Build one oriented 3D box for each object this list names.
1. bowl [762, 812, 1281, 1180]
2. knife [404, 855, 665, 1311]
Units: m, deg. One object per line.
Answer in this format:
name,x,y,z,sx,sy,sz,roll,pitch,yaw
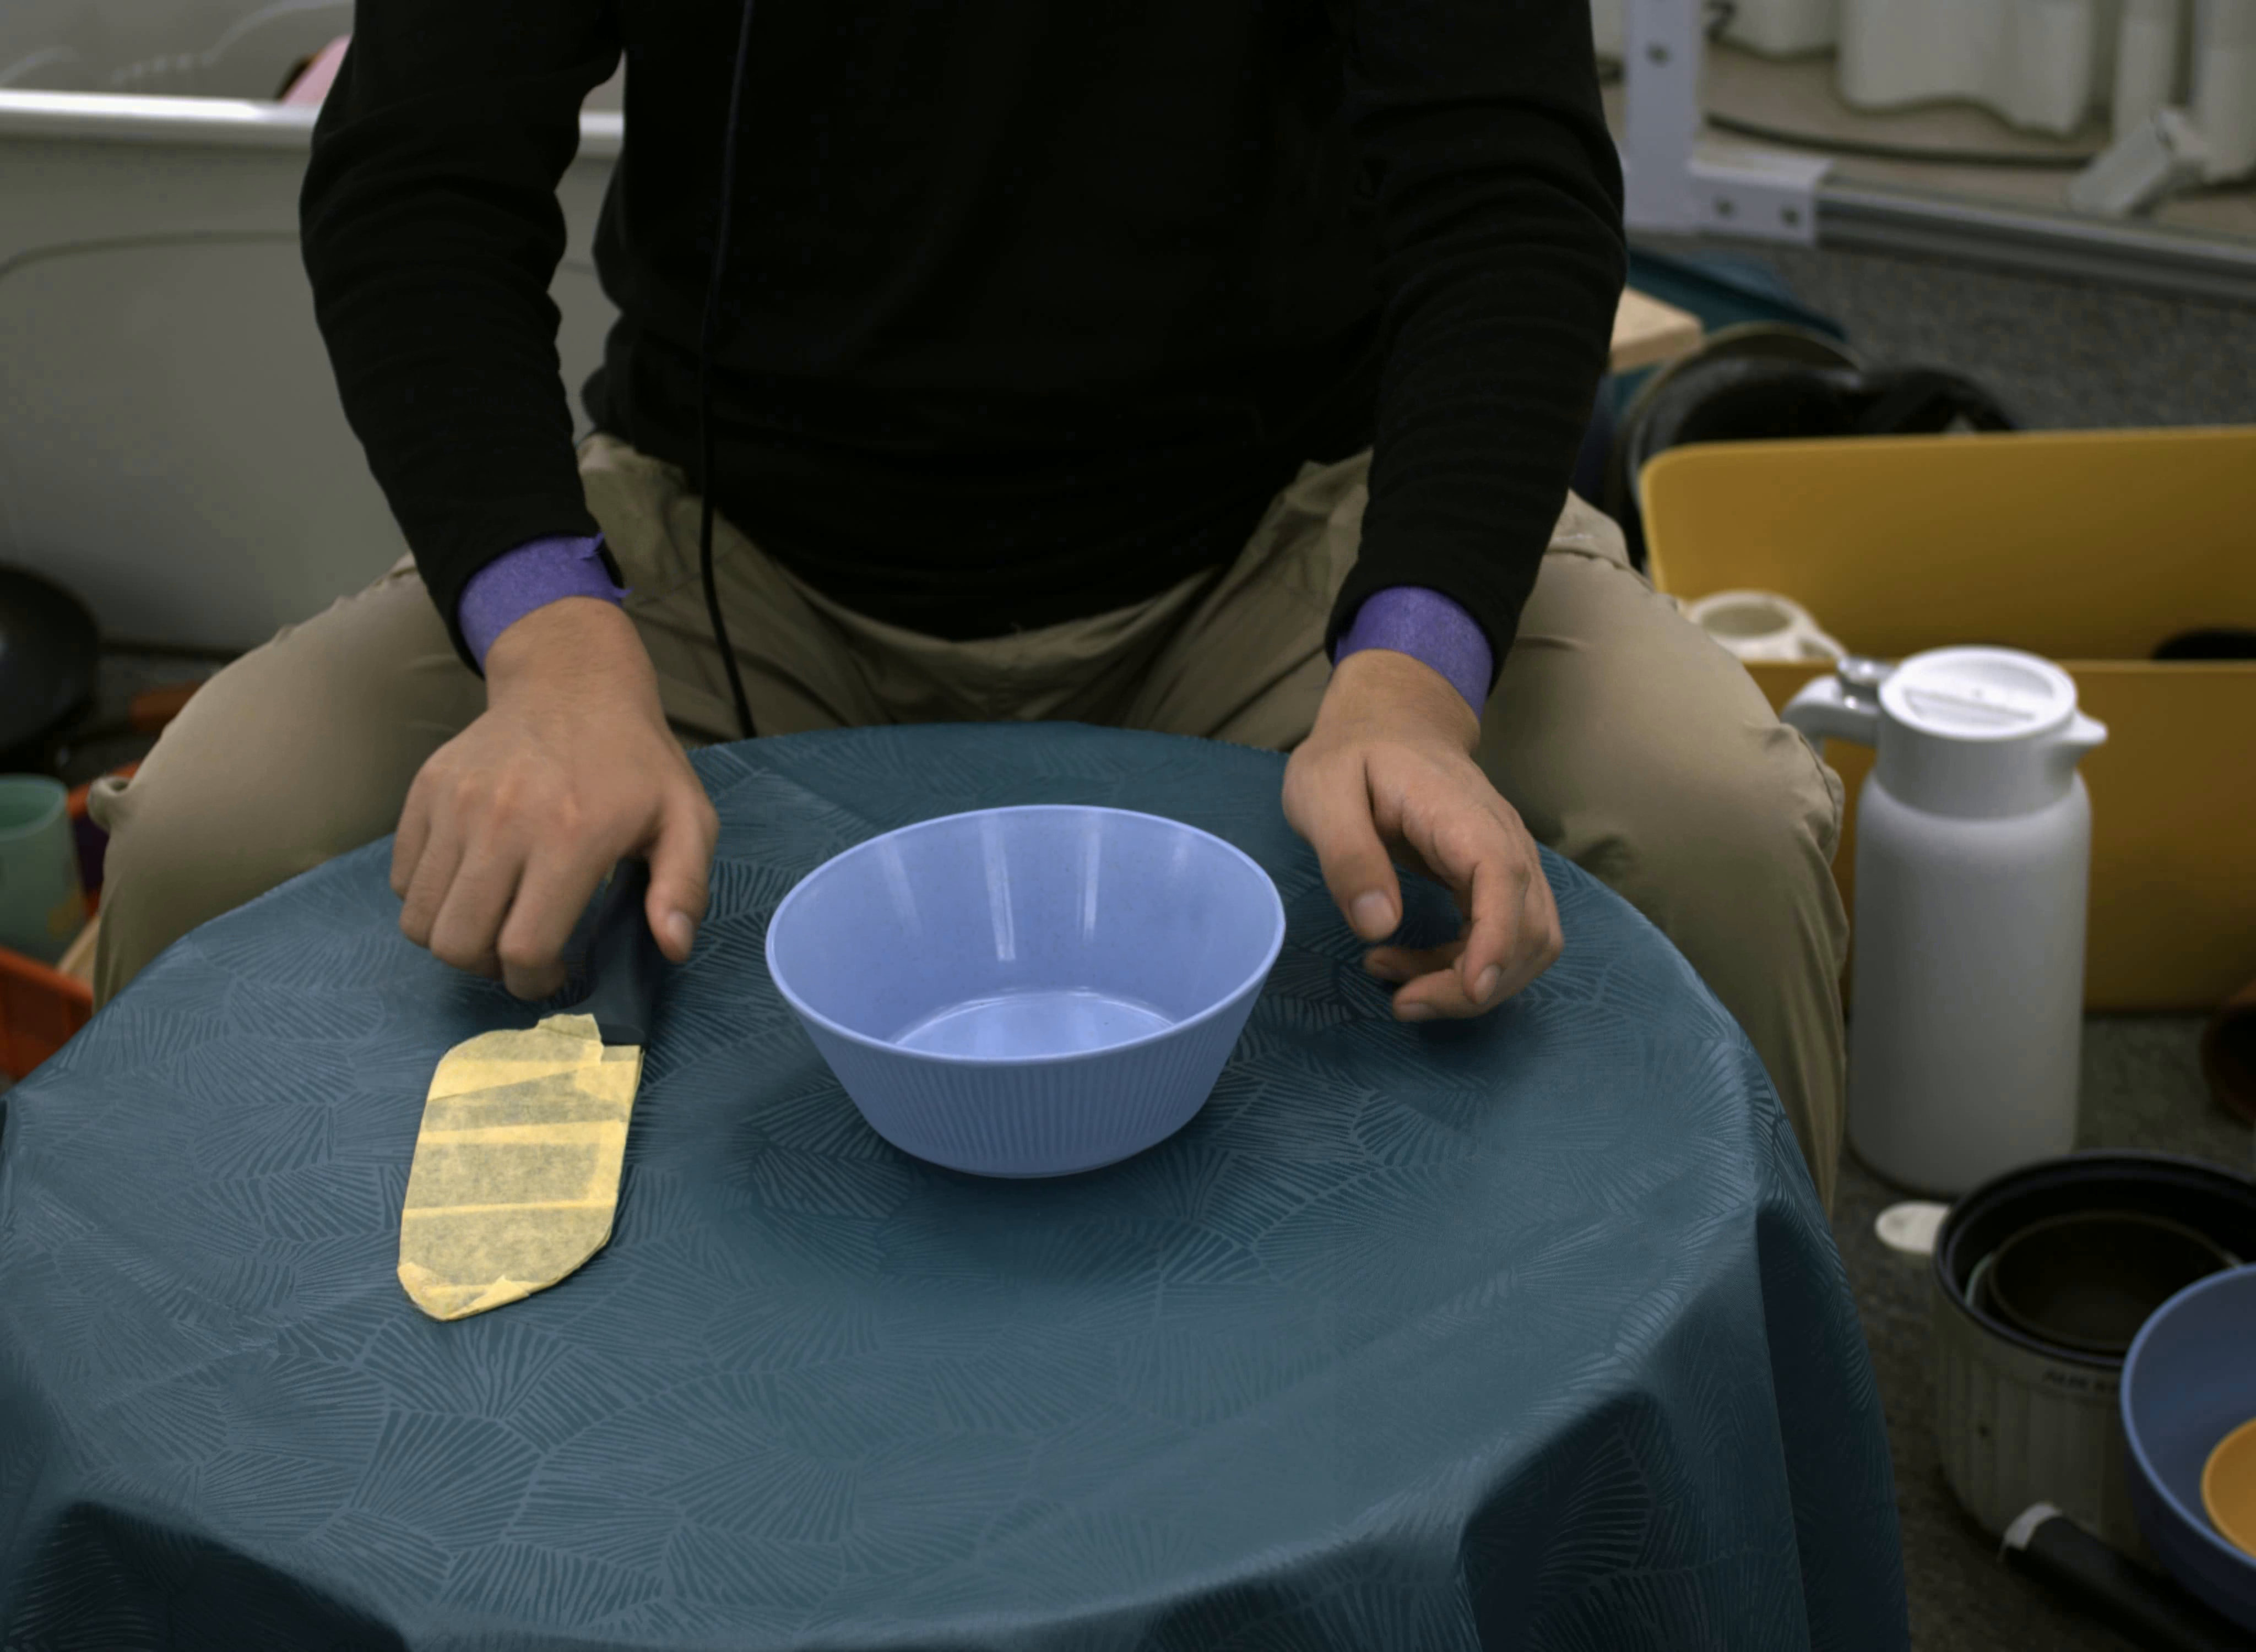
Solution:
bowl,-0.034,0.063,1.901,0.175,0.069,0.179,-3,27,2
knife,-0.201,0.087,1.931,0.080,0.027,0.294,0,28,5
